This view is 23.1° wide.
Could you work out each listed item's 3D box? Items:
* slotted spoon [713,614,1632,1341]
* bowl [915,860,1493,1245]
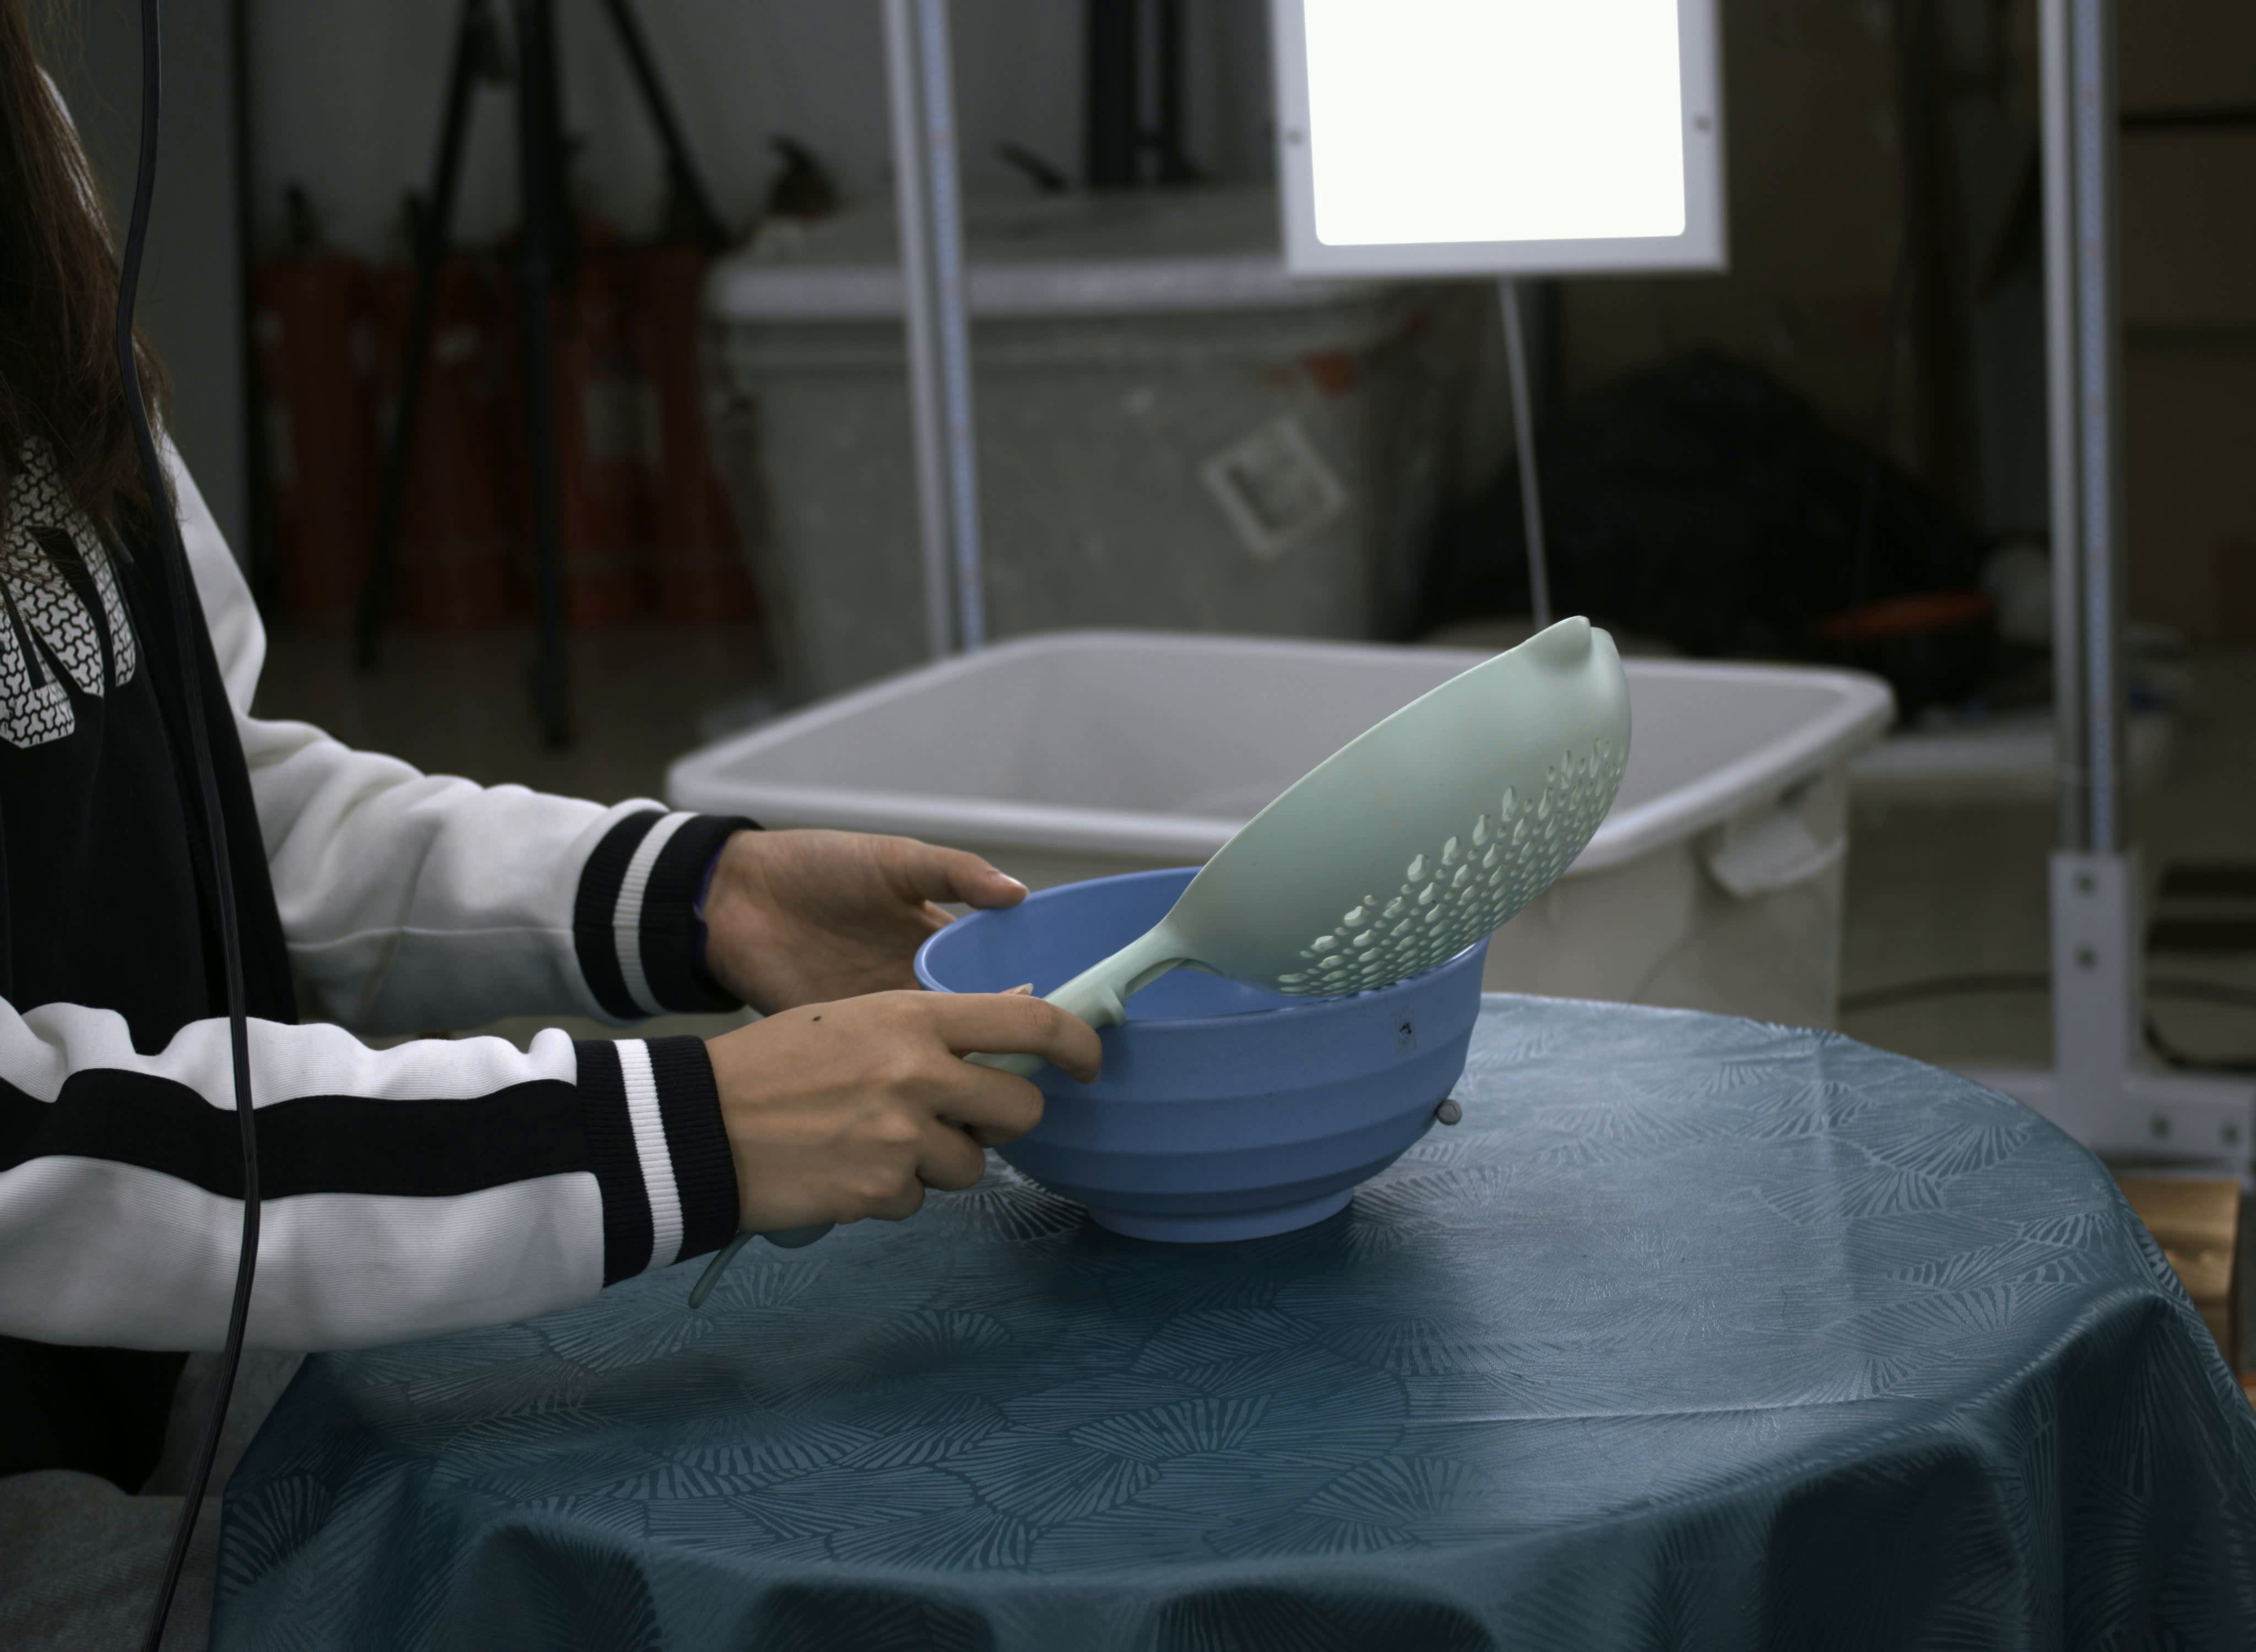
[{"bbox_3d":[0.013,0.051,1.760,0.357,0.076,0.169,-26,-14,-2],"label":"slotted spoon"},{"bbox_3d":[0.029,0.083,1.867,0.196,0.096,0.196,-5,14,0],"label":"bowl"}]
